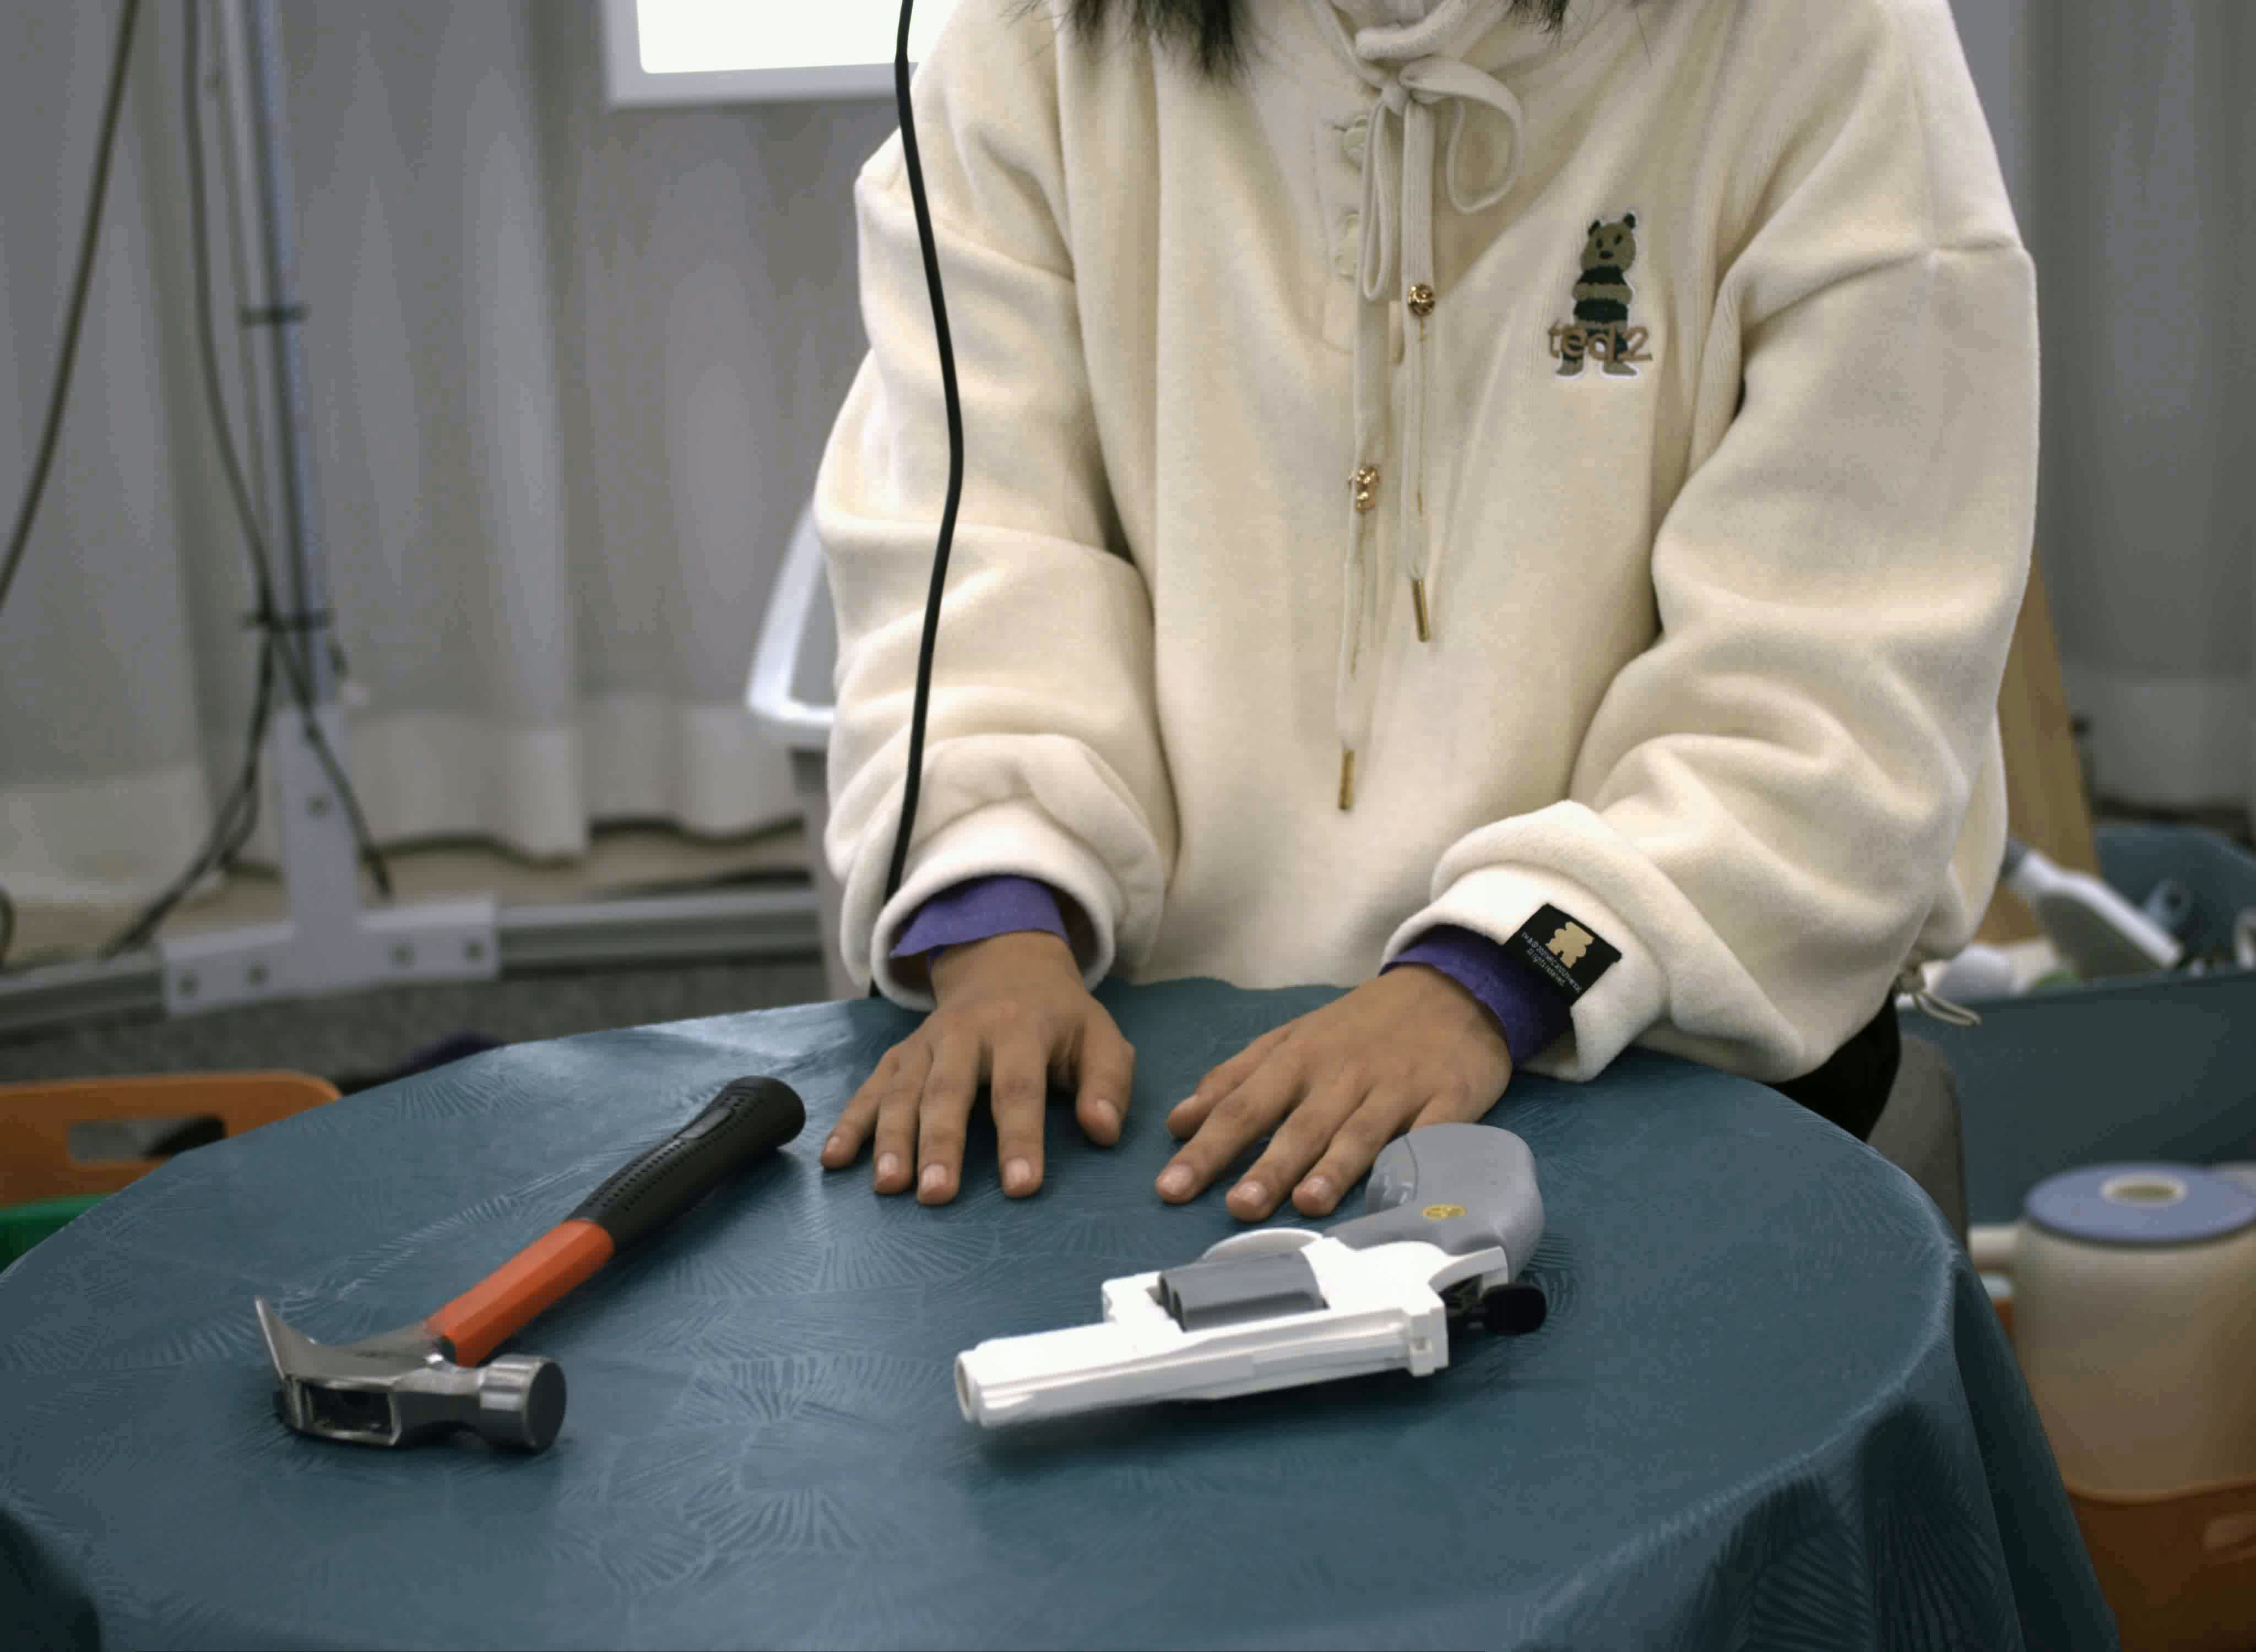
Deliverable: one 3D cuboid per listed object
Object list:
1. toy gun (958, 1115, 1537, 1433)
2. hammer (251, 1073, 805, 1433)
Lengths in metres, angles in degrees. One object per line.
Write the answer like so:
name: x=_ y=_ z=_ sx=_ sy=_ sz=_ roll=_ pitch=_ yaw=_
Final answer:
toy gun: x=0.039 y=0.130 z=1.571 sx=0.208 sy=0.038 sz=0.143 roll=-8 pitch=17 yaw=-17
hammer: x=-0.169 y=0.126 z=1.651 sx=0.110 sy=0.026 sz=0.278 roll=-6 pitch=12 yaw=23
